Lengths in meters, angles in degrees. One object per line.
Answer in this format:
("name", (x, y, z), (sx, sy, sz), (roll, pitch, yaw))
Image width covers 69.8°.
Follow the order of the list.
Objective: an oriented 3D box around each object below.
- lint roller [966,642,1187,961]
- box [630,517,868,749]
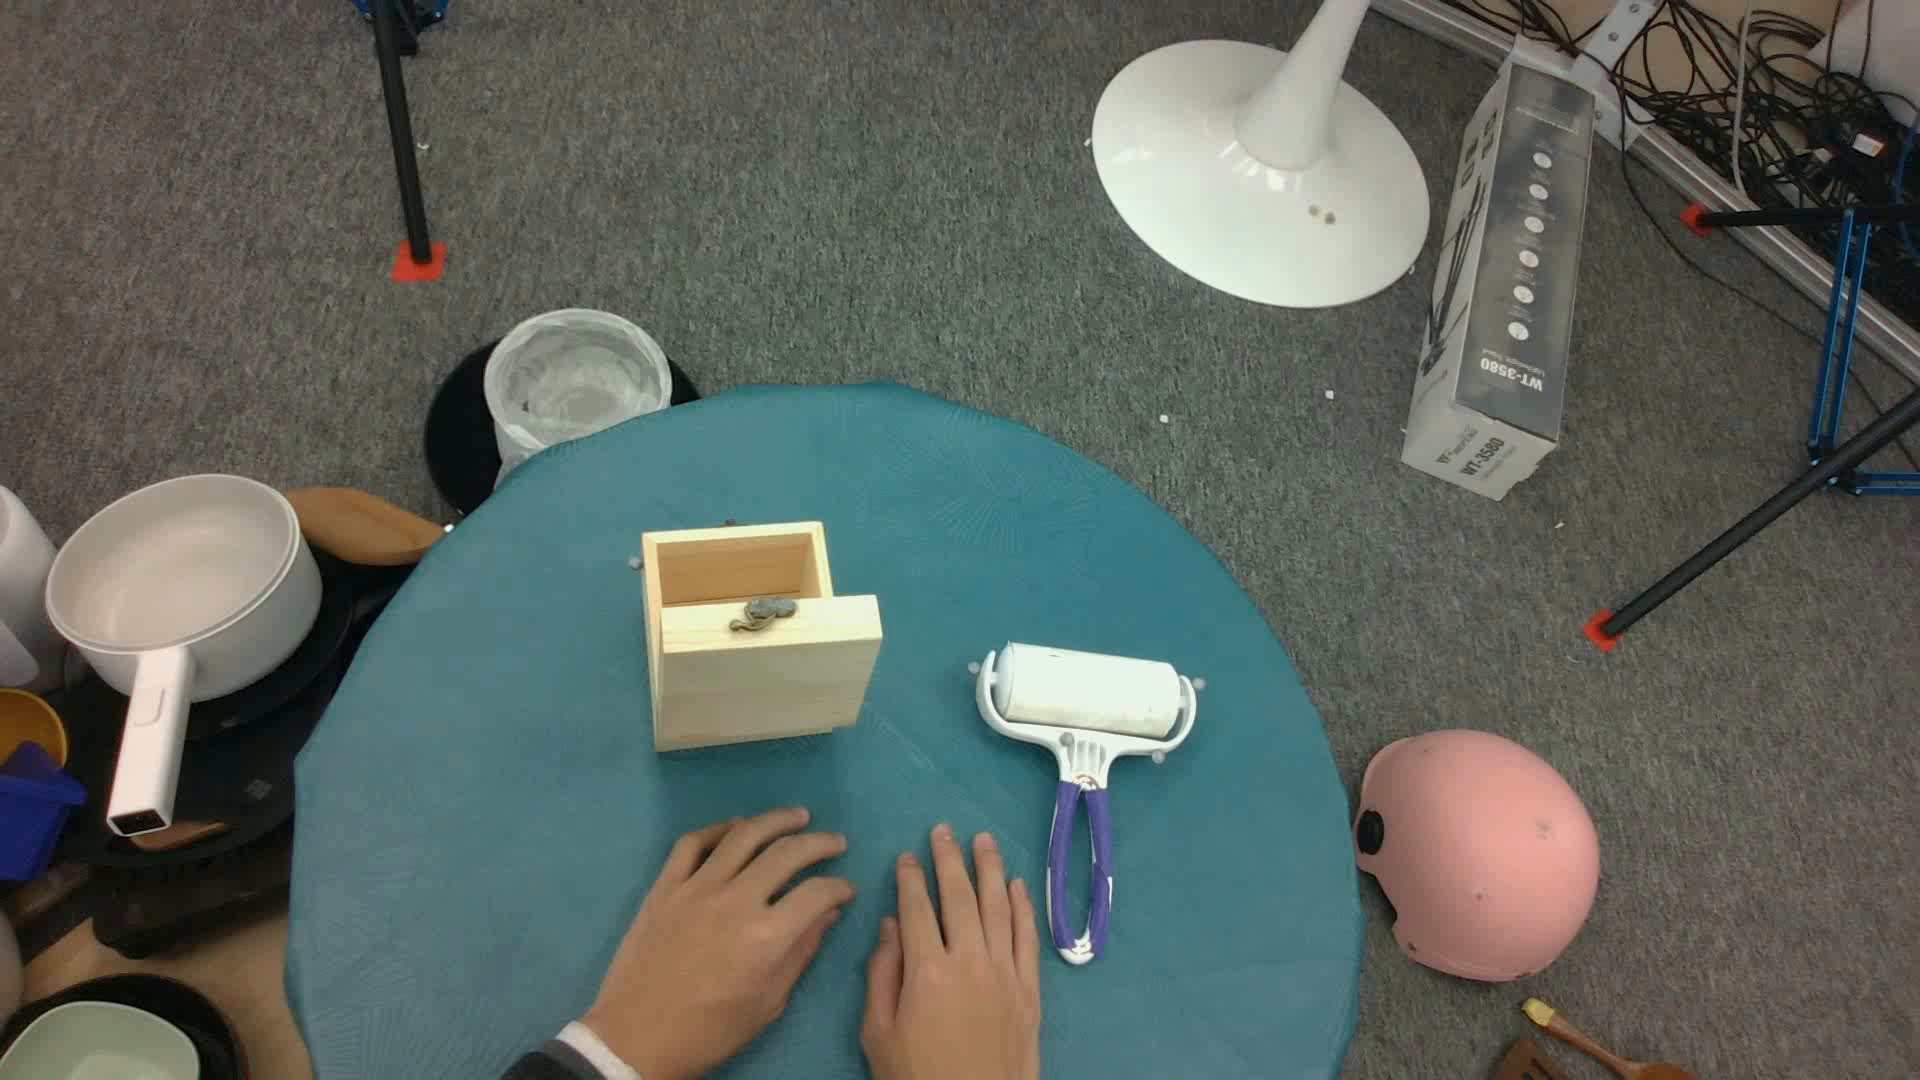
("lint roller", (0.066, 0.146, 0.791), (0.133, 0.050, 0.181), (10, 57, -9))
("box", (-0.120, 0.036, 0.730), (0.103, 0.183, 0.134), (-4, 62, -15))
